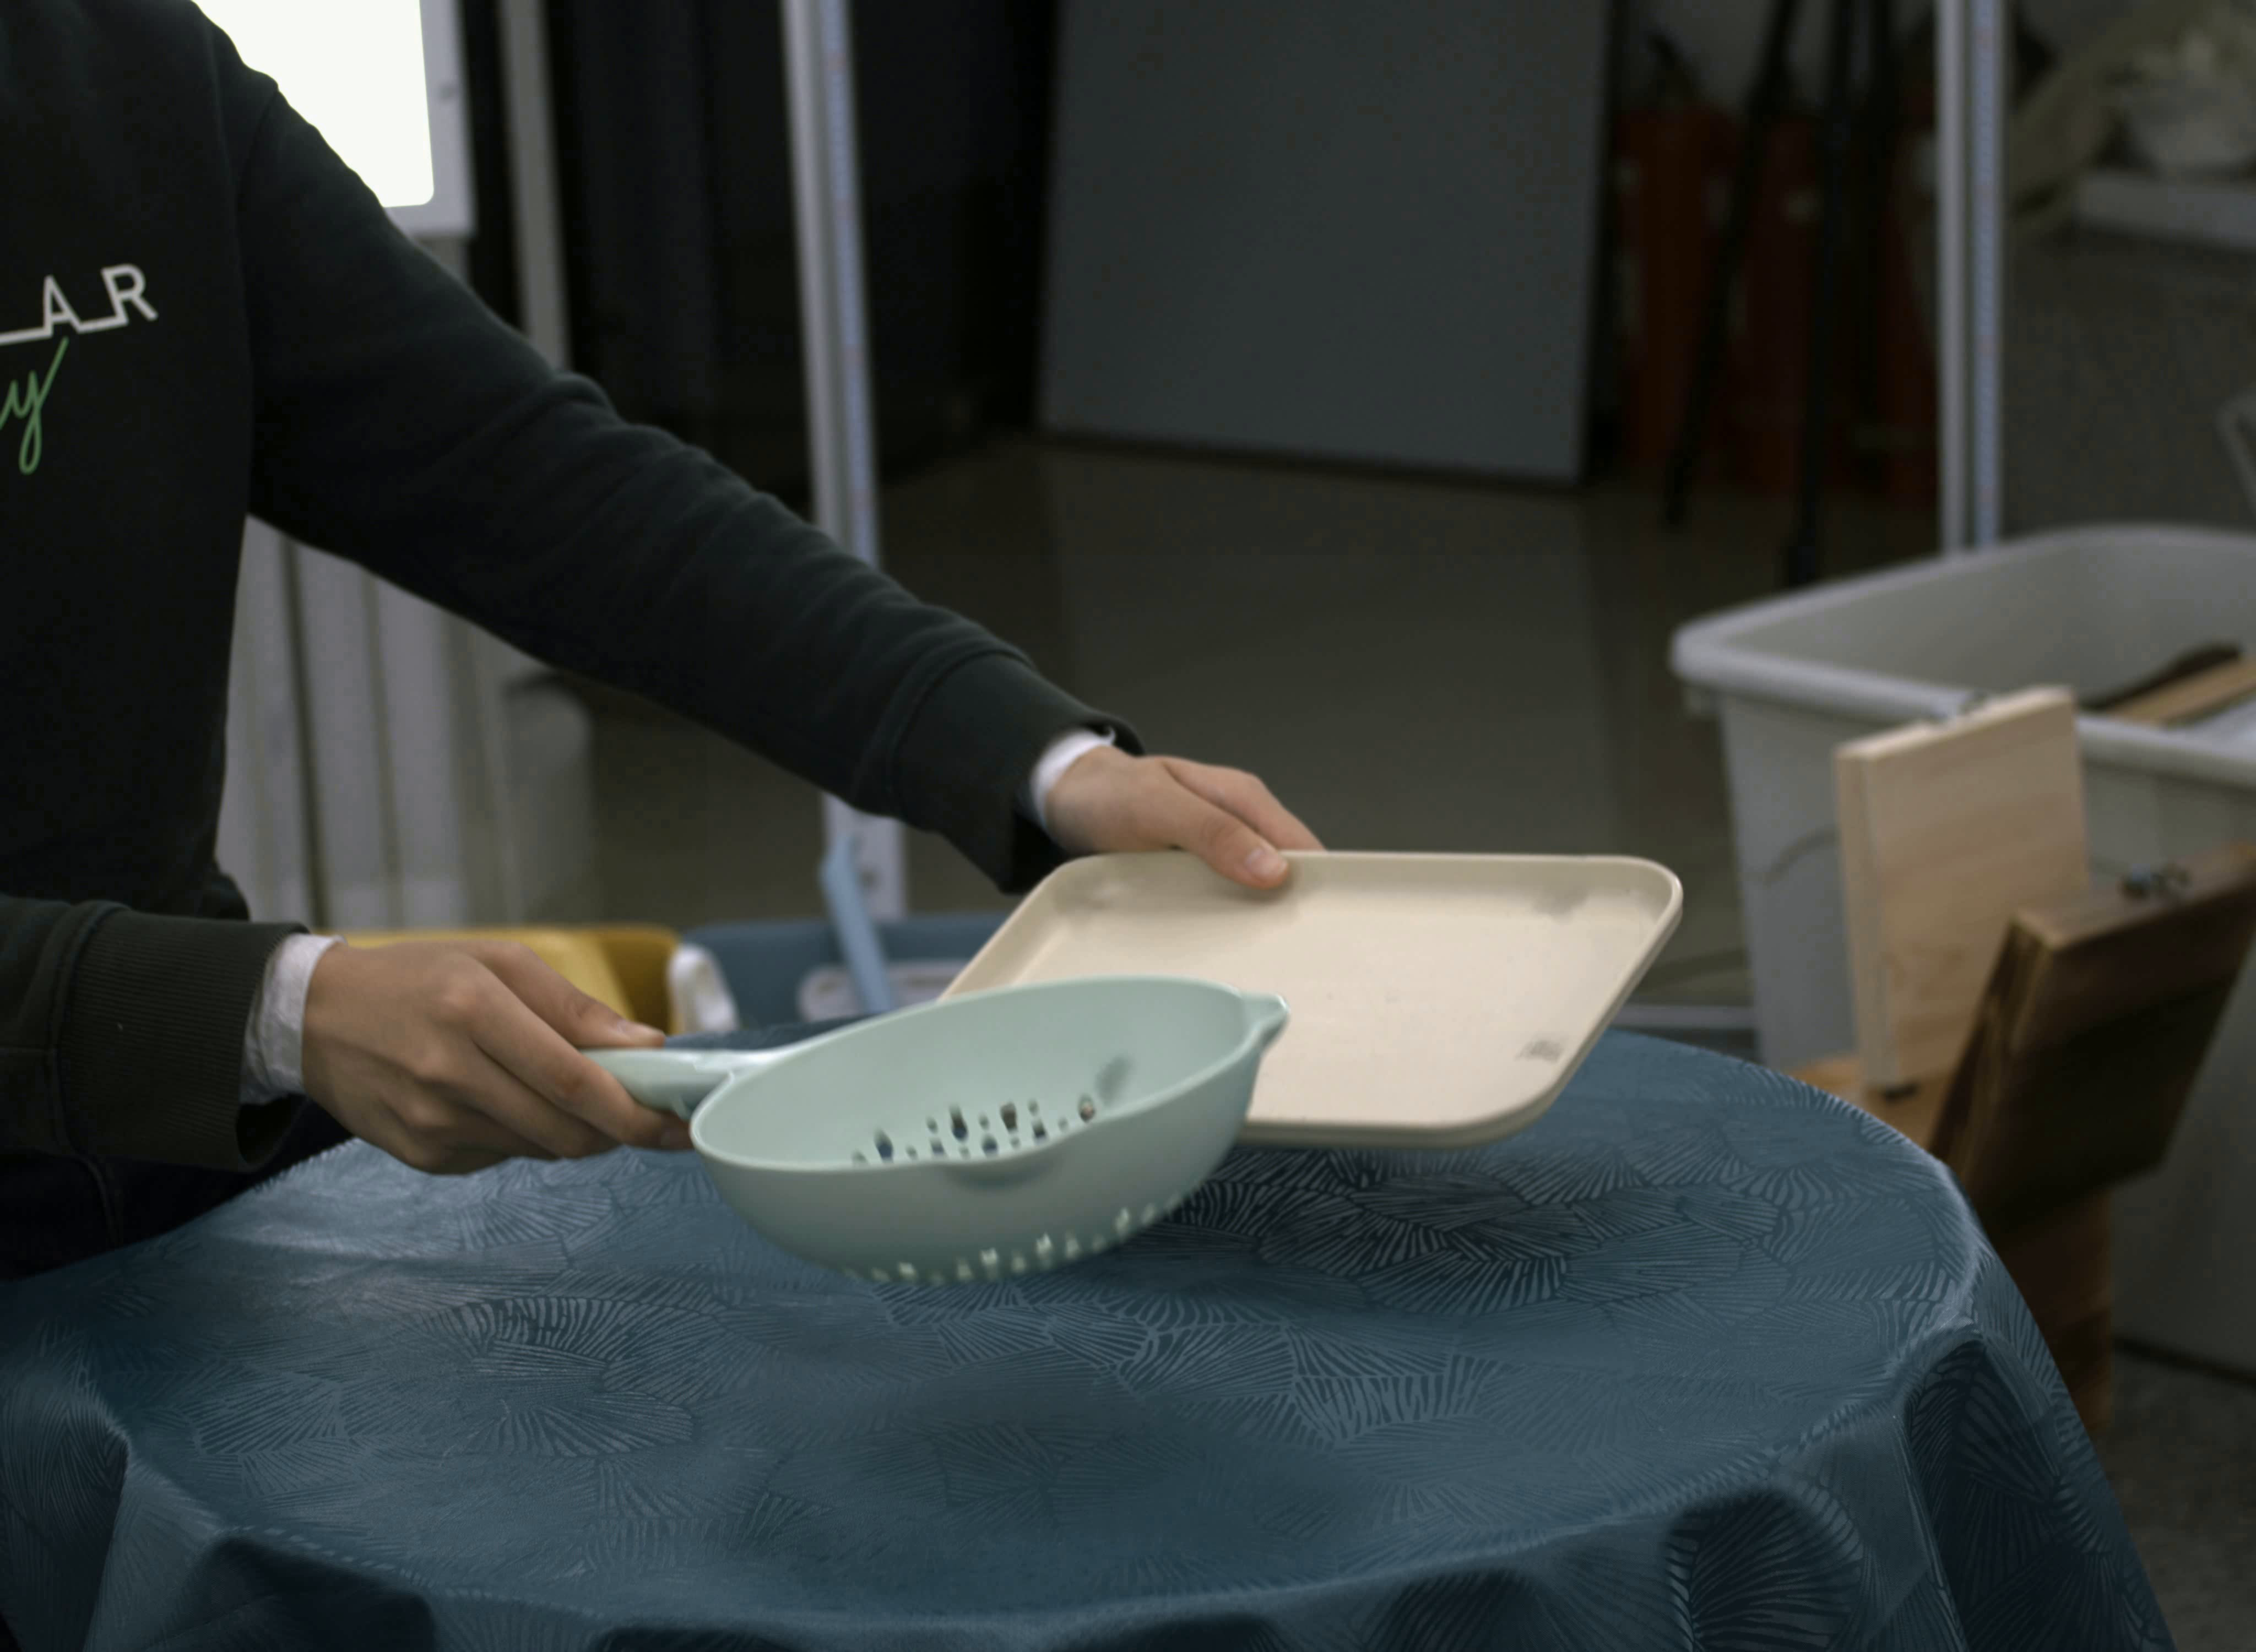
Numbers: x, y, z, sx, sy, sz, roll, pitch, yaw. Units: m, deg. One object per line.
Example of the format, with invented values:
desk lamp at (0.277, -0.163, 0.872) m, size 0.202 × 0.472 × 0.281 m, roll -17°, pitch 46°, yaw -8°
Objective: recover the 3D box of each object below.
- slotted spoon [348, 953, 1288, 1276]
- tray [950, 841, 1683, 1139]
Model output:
slotted spoon at (-0.114, 0.077, 1.616) m, size 0.362 × 0.076 × 0.166 m, roll 9°, pitch 23°, yaw 40°
tray at (0.052, 0.054, 1.738) m, size 0.240 × 0.017 × 0.170 m, roll -1°, pitch 28°, yaw 29°
